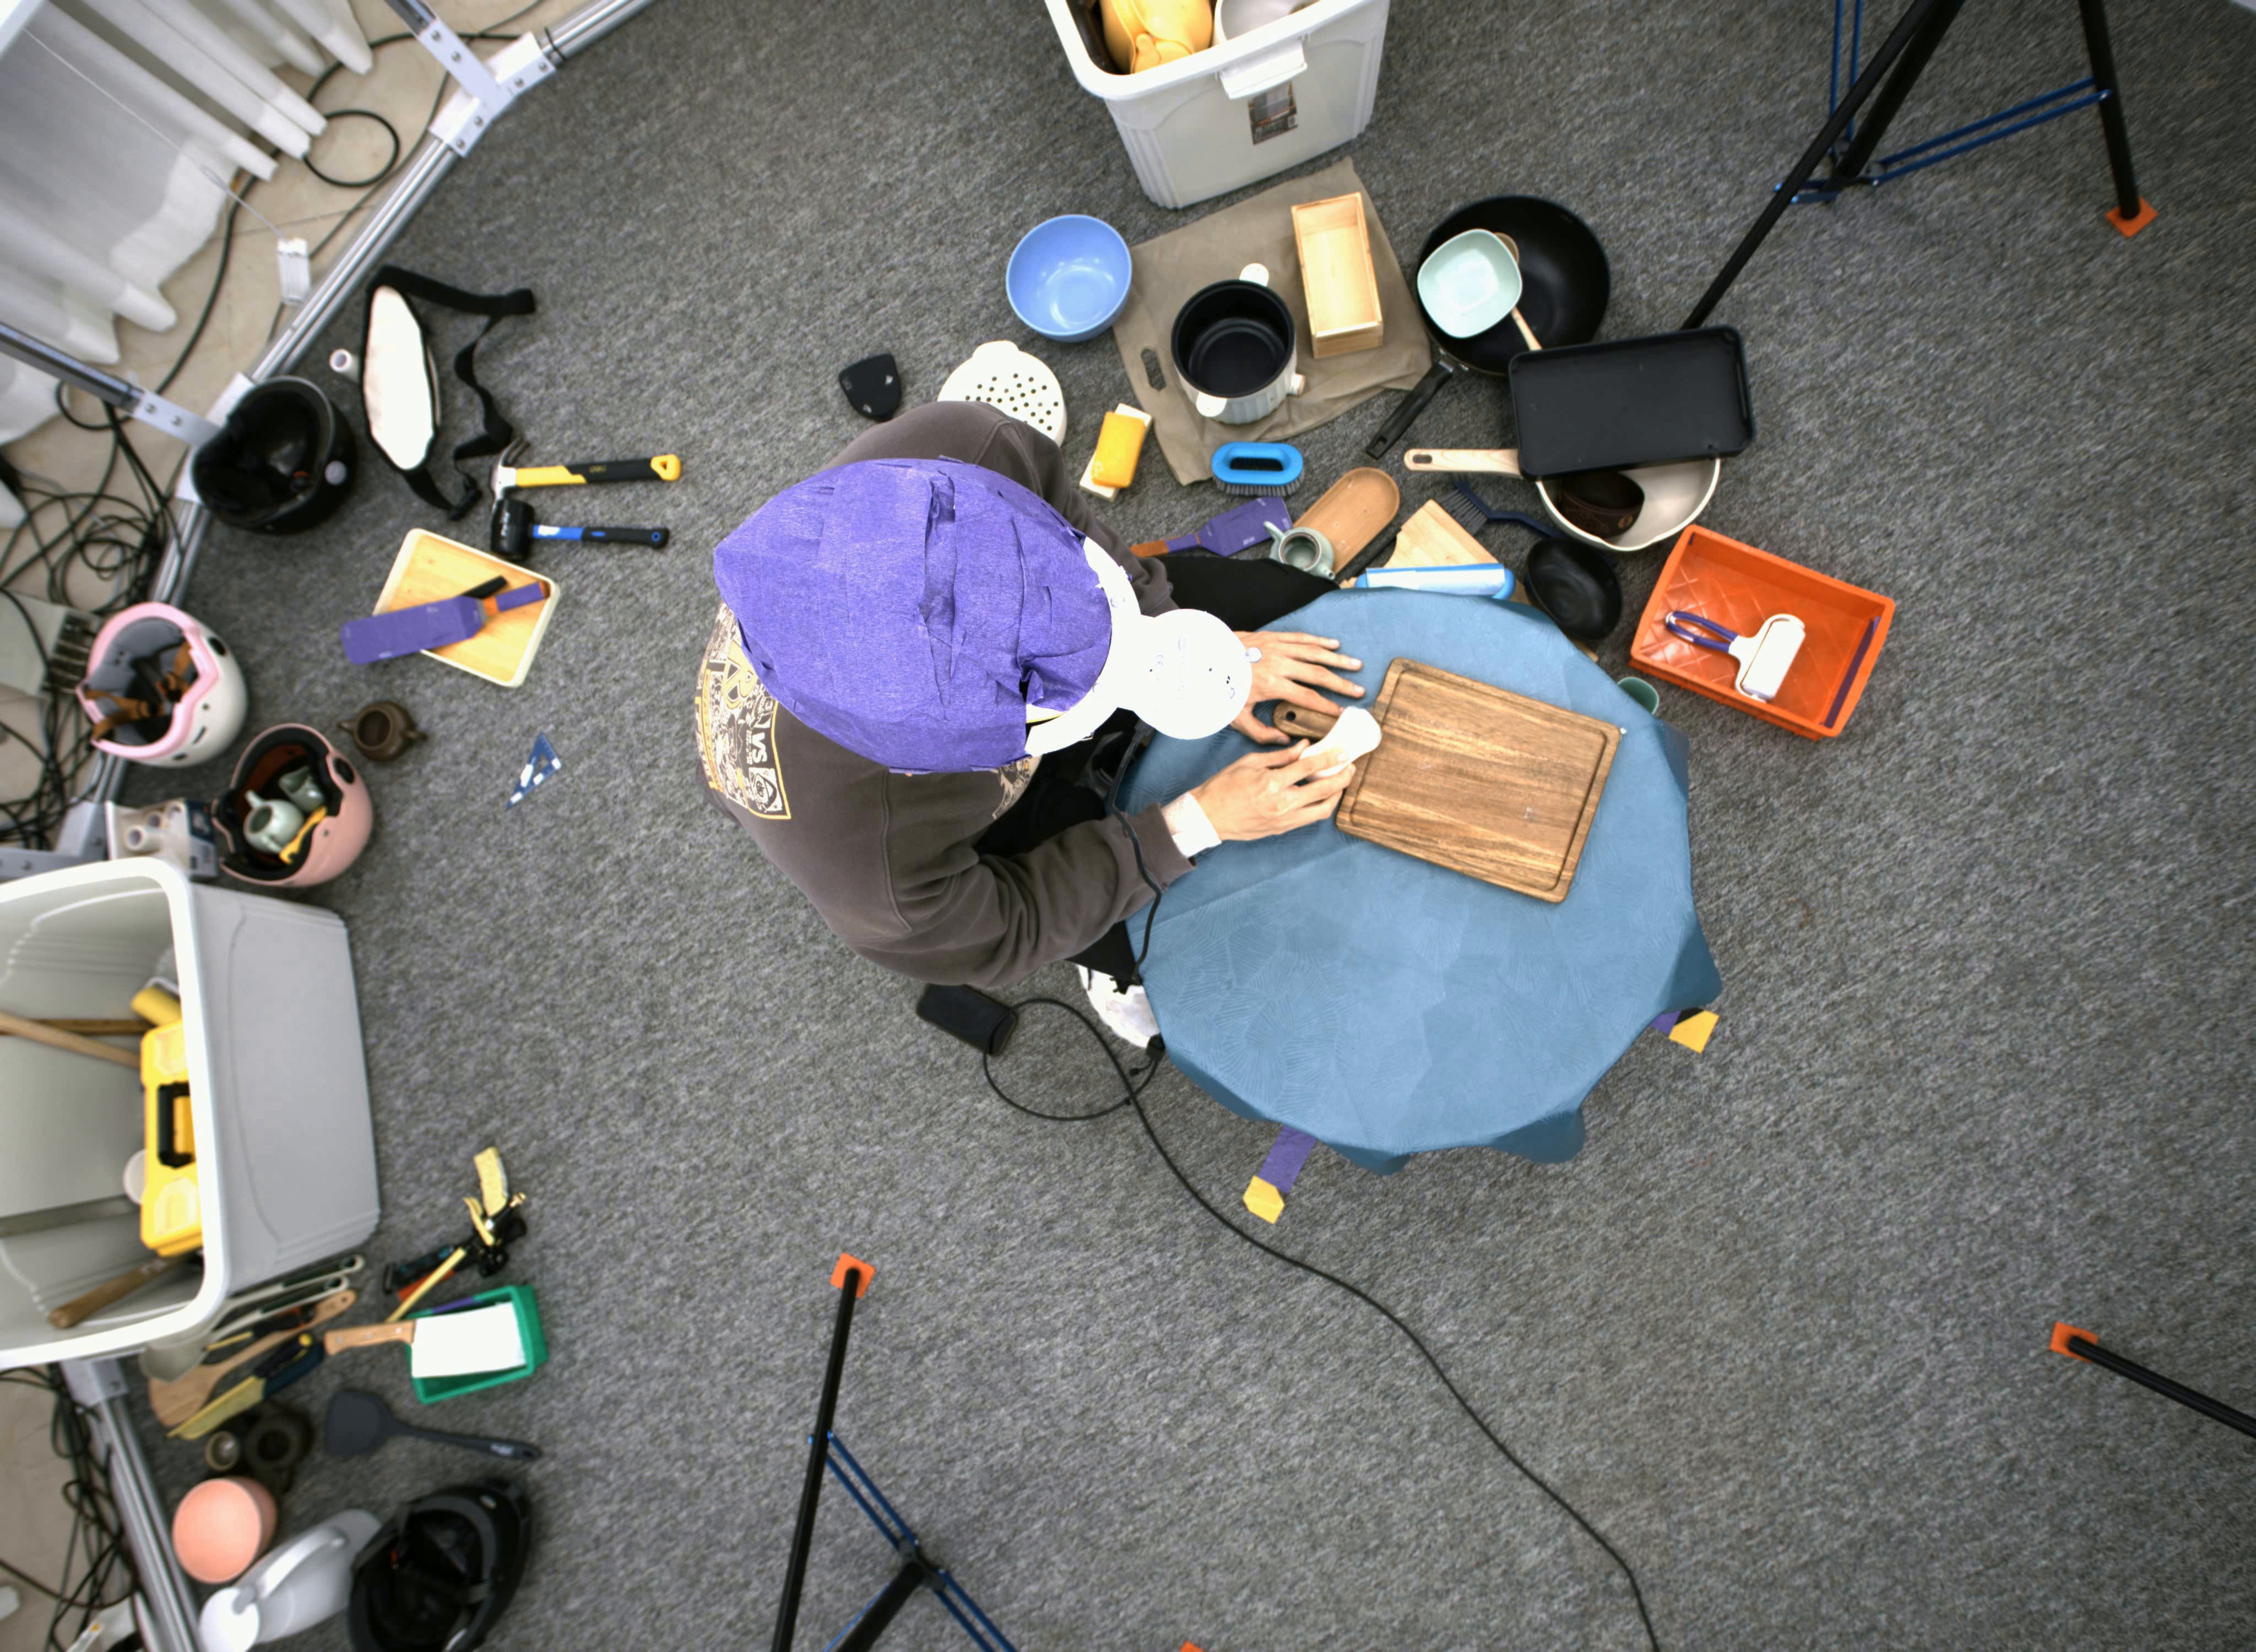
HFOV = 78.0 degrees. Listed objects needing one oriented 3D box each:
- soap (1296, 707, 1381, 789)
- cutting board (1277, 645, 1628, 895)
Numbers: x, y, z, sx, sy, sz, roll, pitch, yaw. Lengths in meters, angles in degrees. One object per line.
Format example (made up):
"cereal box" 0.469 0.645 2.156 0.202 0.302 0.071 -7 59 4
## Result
"soap" 0.220 -0.083 1.441 0.095 0.030 0.050 -43 80 8
"cutting board" 0.325 -0.079 1.444 0.352 0.023 0.201 20 91 11
